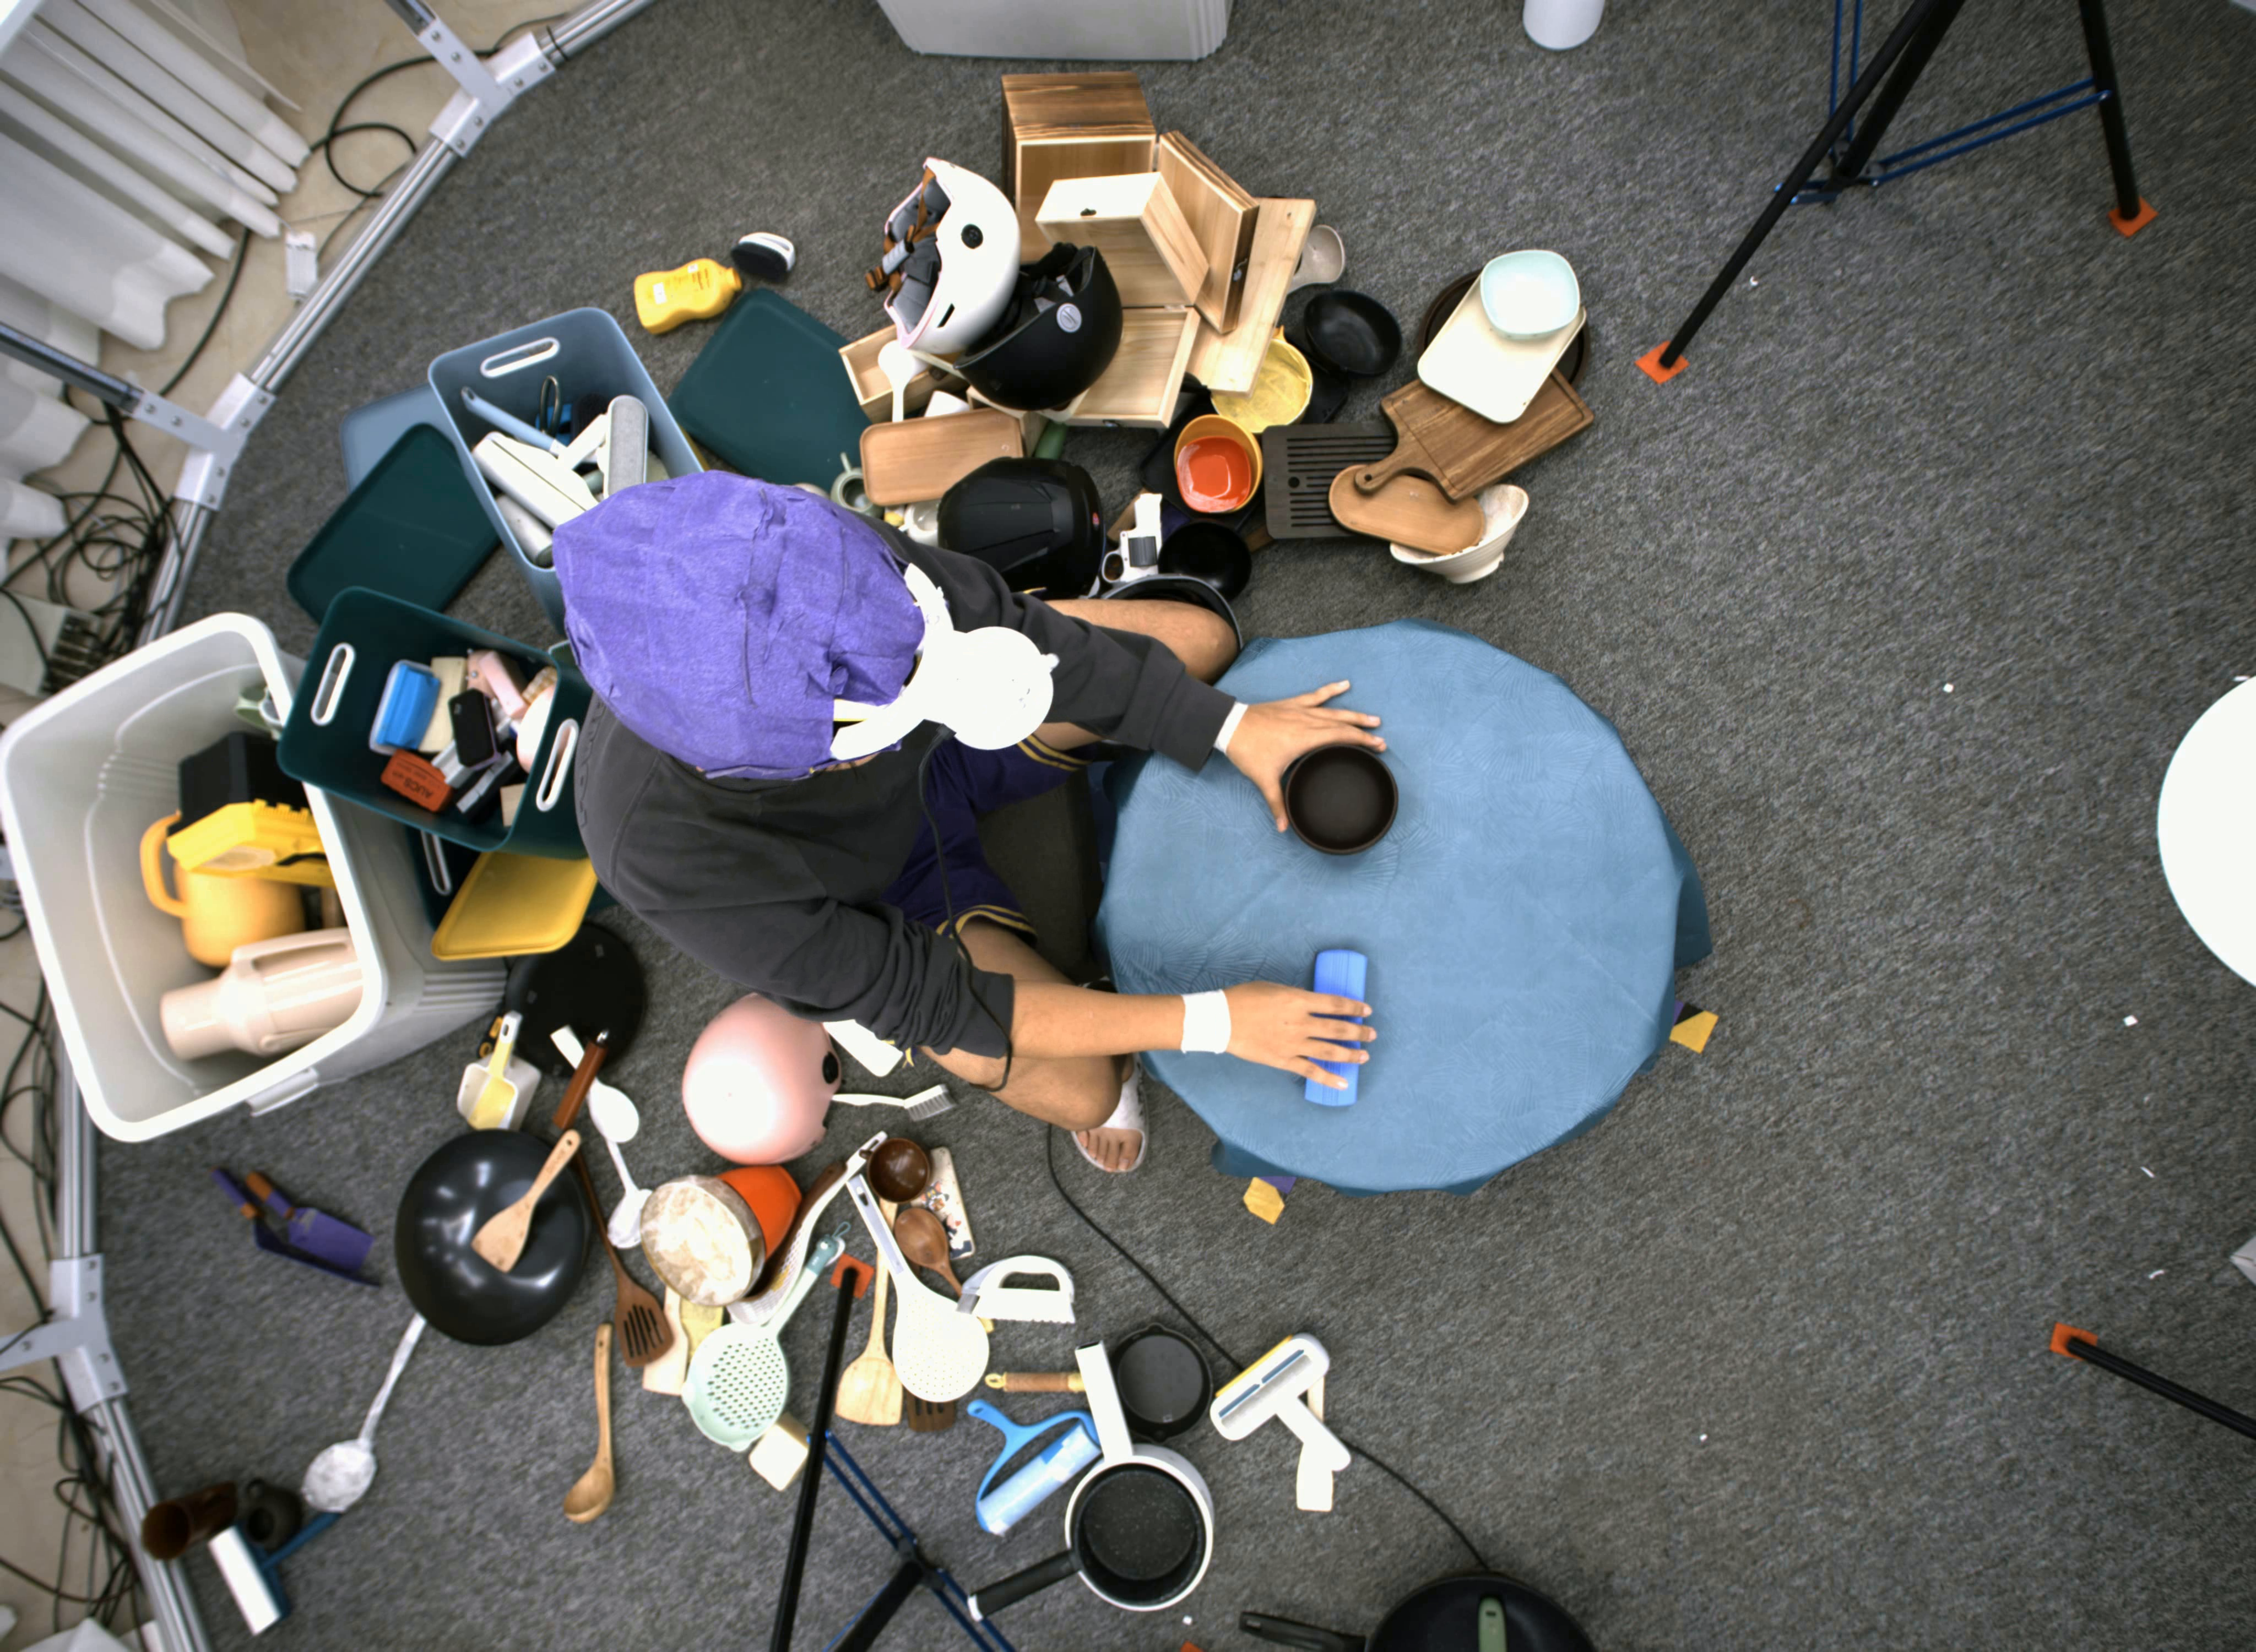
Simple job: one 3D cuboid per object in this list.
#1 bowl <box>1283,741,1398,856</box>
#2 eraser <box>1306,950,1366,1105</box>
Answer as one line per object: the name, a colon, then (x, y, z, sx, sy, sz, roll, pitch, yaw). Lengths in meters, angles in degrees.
bowl: (0.221, -0.028, 1.436, 0.118, 0.070, 0.117, -1, 88, 10)
eraser: (0.217, 0.208, 1.438, 0.054, 0.047, 0.161, 4, 87, 8)
